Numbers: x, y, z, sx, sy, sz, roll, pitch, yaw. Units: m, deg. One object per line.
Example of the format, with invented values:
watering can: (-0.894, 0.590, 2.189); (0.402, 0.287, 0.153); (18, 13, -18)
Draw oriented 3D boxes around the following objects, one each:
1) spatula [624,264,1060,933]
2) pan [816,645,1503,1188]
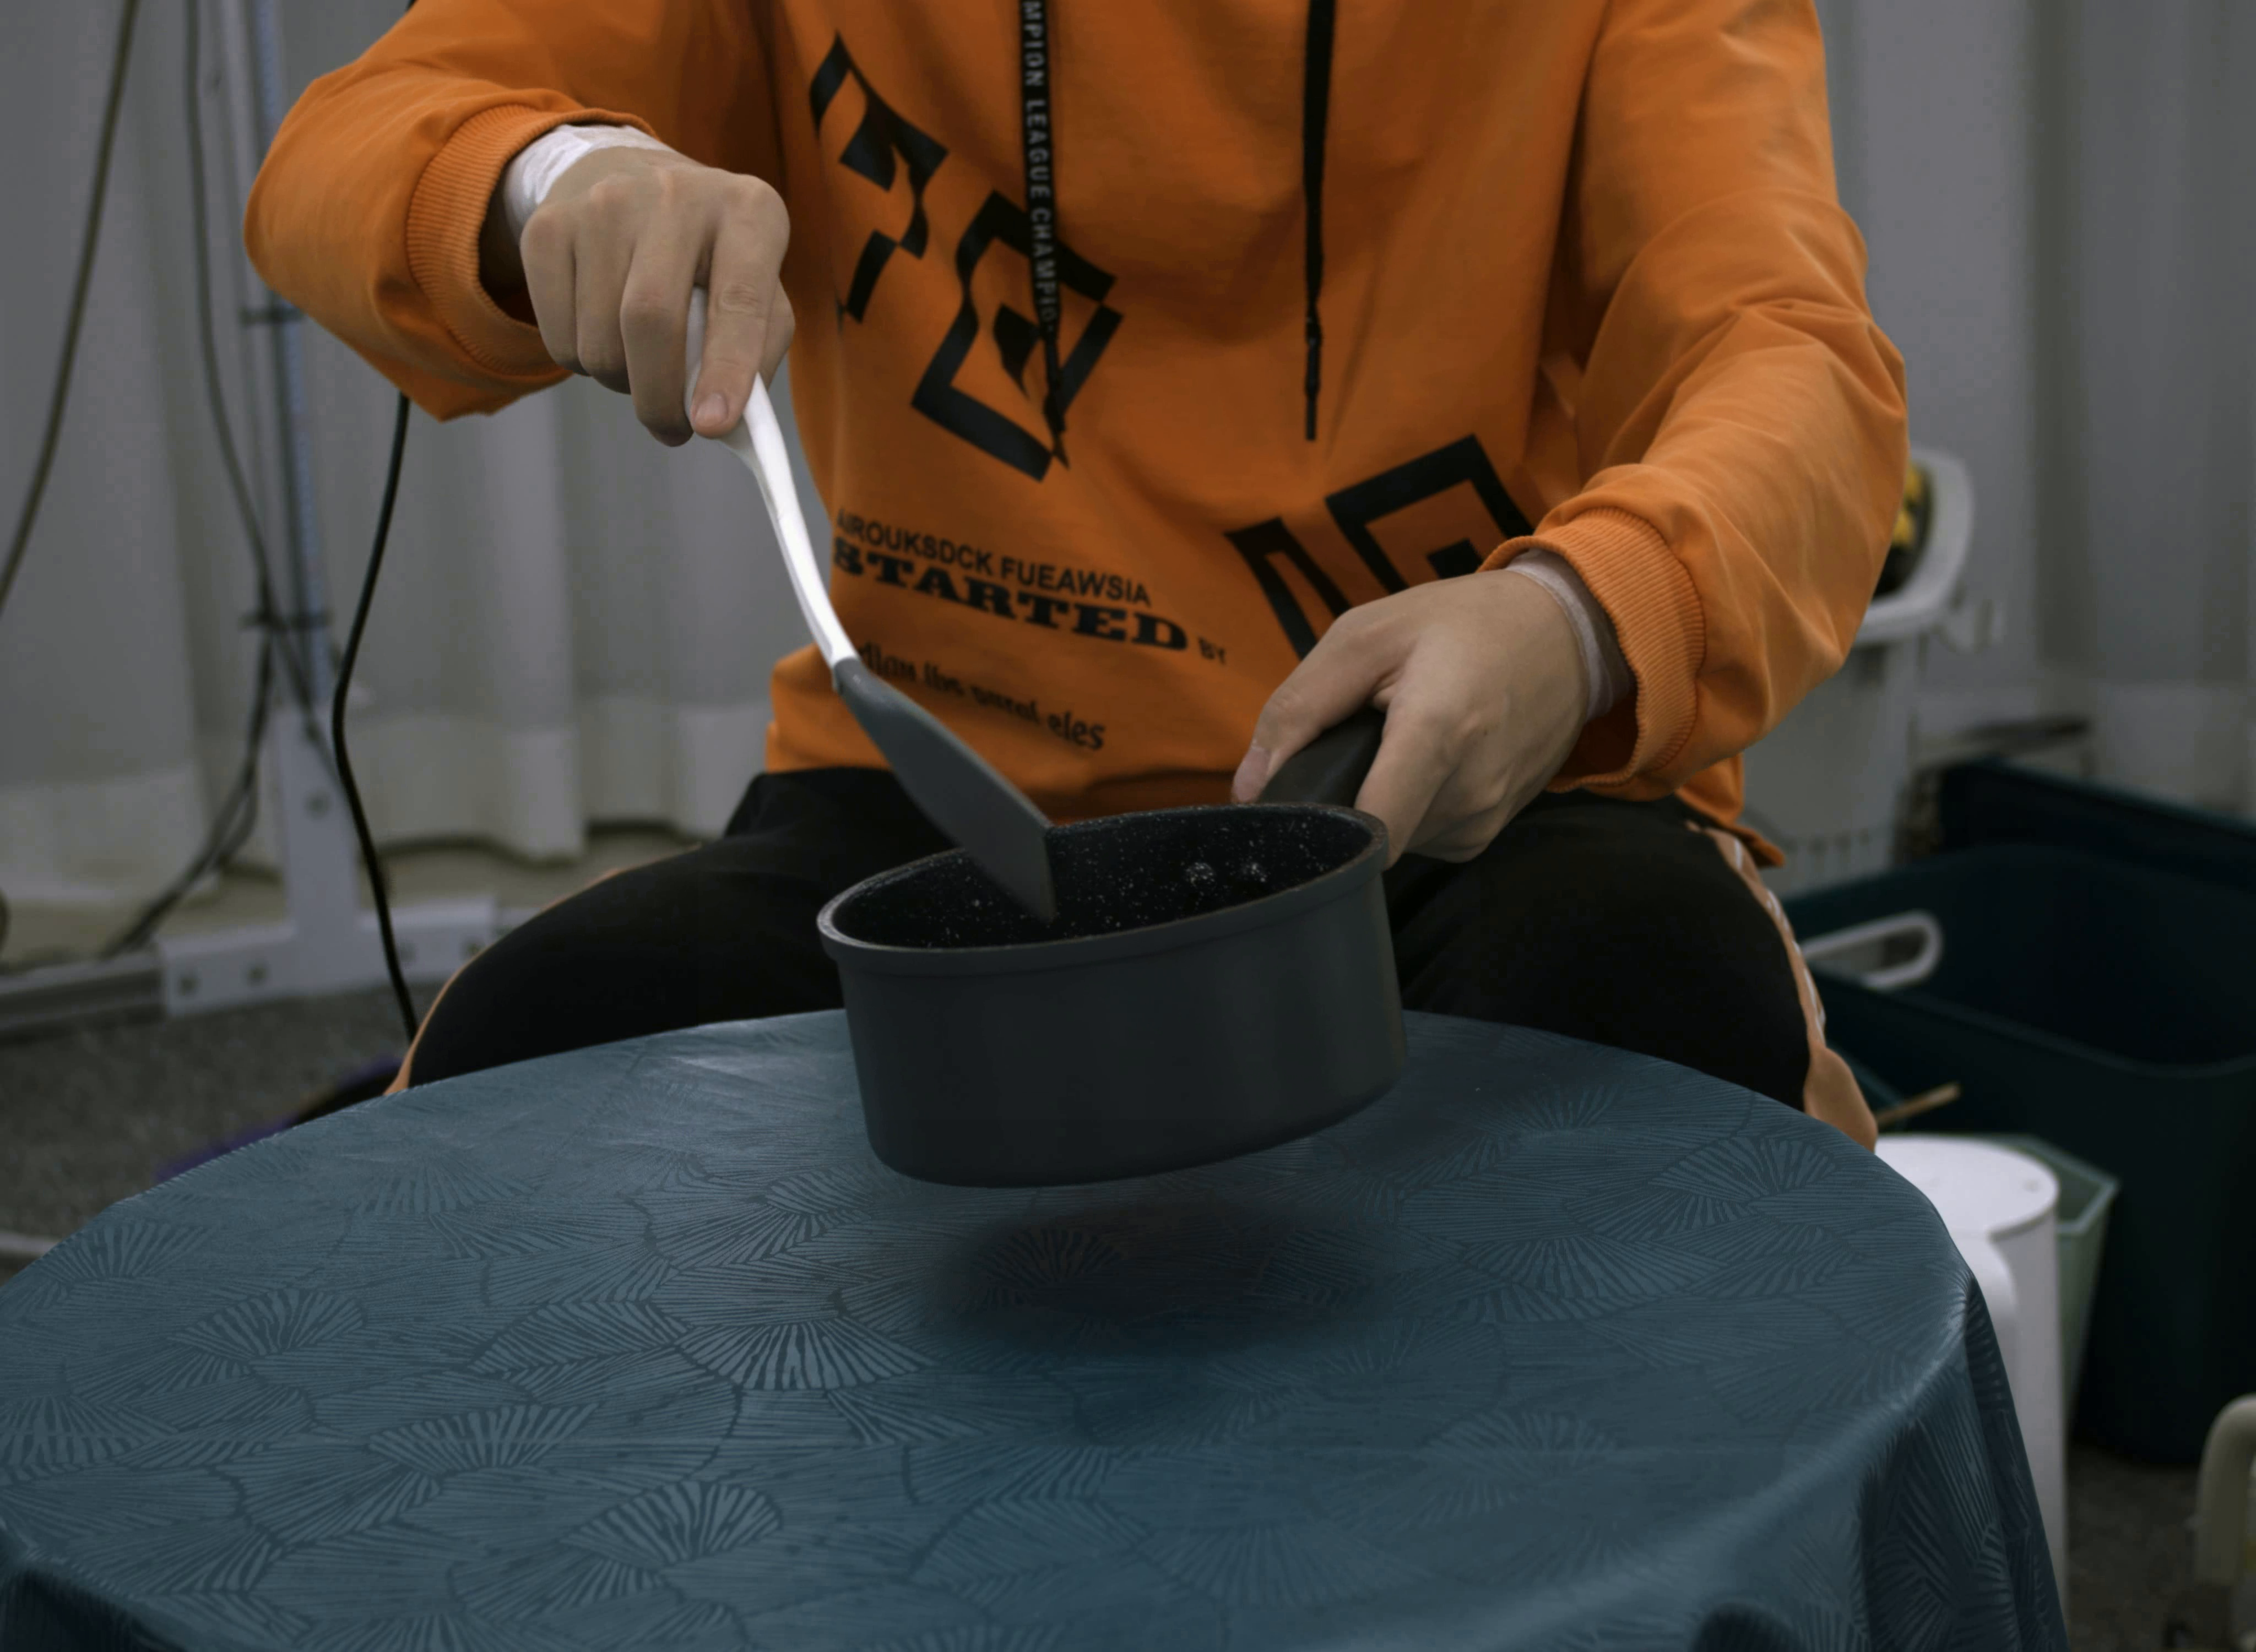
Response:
spatula: (-0.090, -0.074, 1.700); (0.032, 0.058, 0.292); (-20, 50, -15)
pan: (0.035, 0.026, 1.688); (0.172, 0.086, 0.329); (-2, 15, 30)
